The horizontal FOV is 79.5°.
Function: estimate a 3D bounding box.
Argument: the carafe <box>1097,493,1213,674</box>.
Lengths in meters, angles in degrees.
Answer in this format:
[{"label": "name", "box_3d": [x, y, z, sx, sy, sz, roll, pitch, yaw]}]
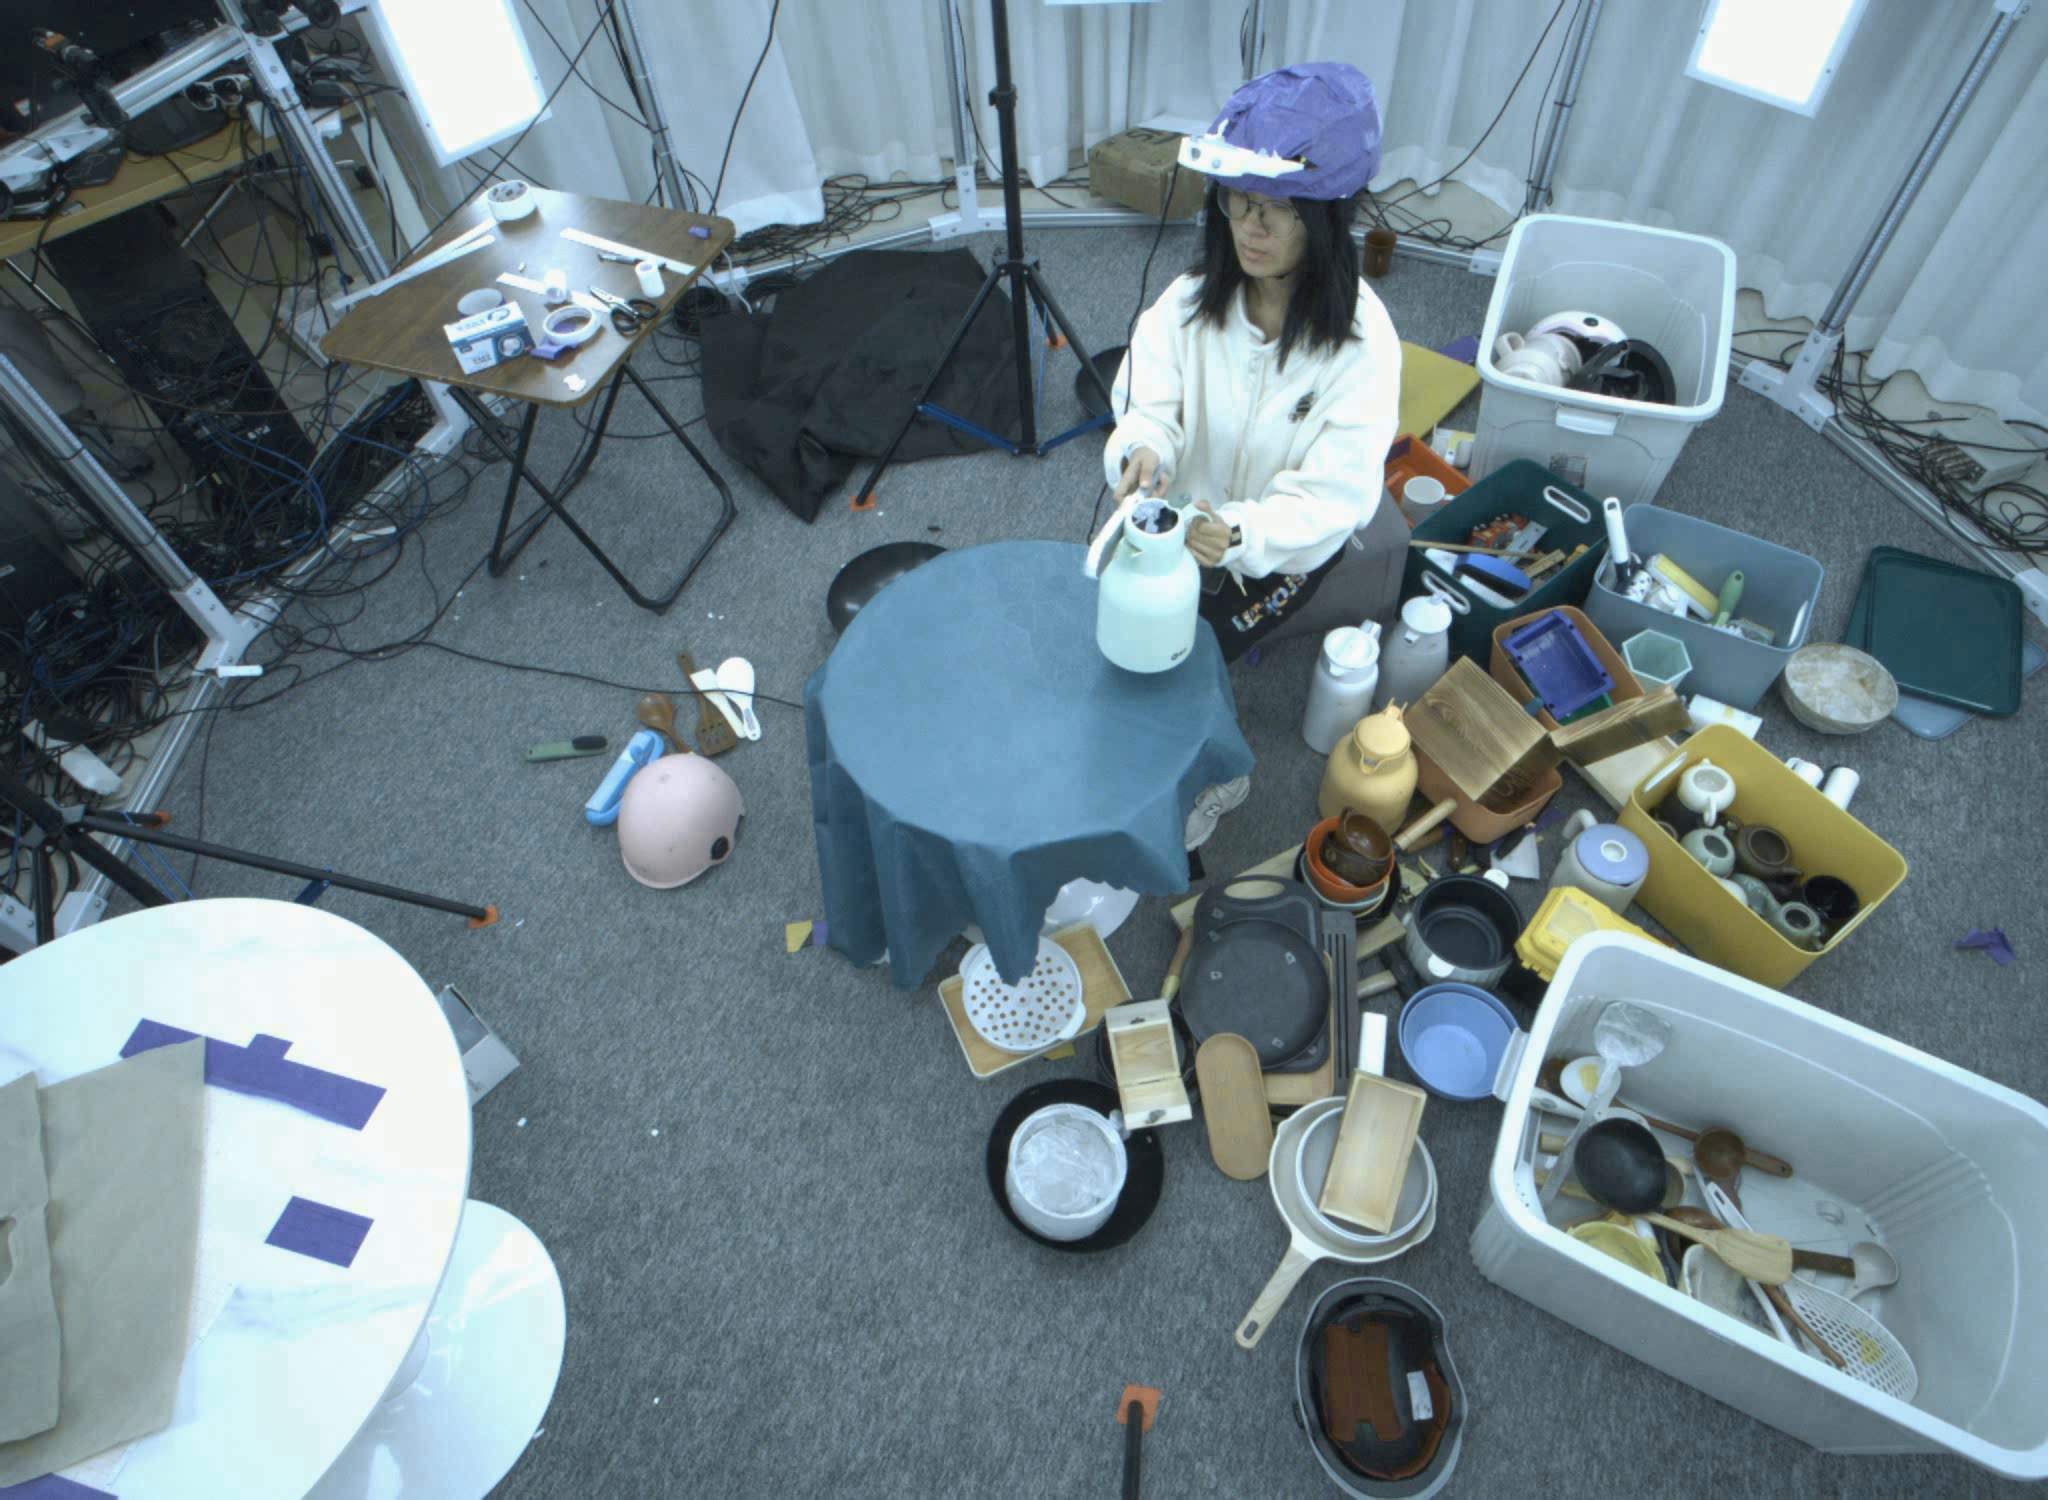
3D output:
[{"label": "carafe", "box_3d": [0.188, -0.242, 1.737, 0.188, 0.259, 0.141, -35, 59, -25]}]

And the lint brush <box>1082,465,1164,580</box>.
[{"label": "lint brush", "box_3d": [0.141, -0.327, 1.705, 0.021, 0.060, 0.309, 19, 43, 13]}]
